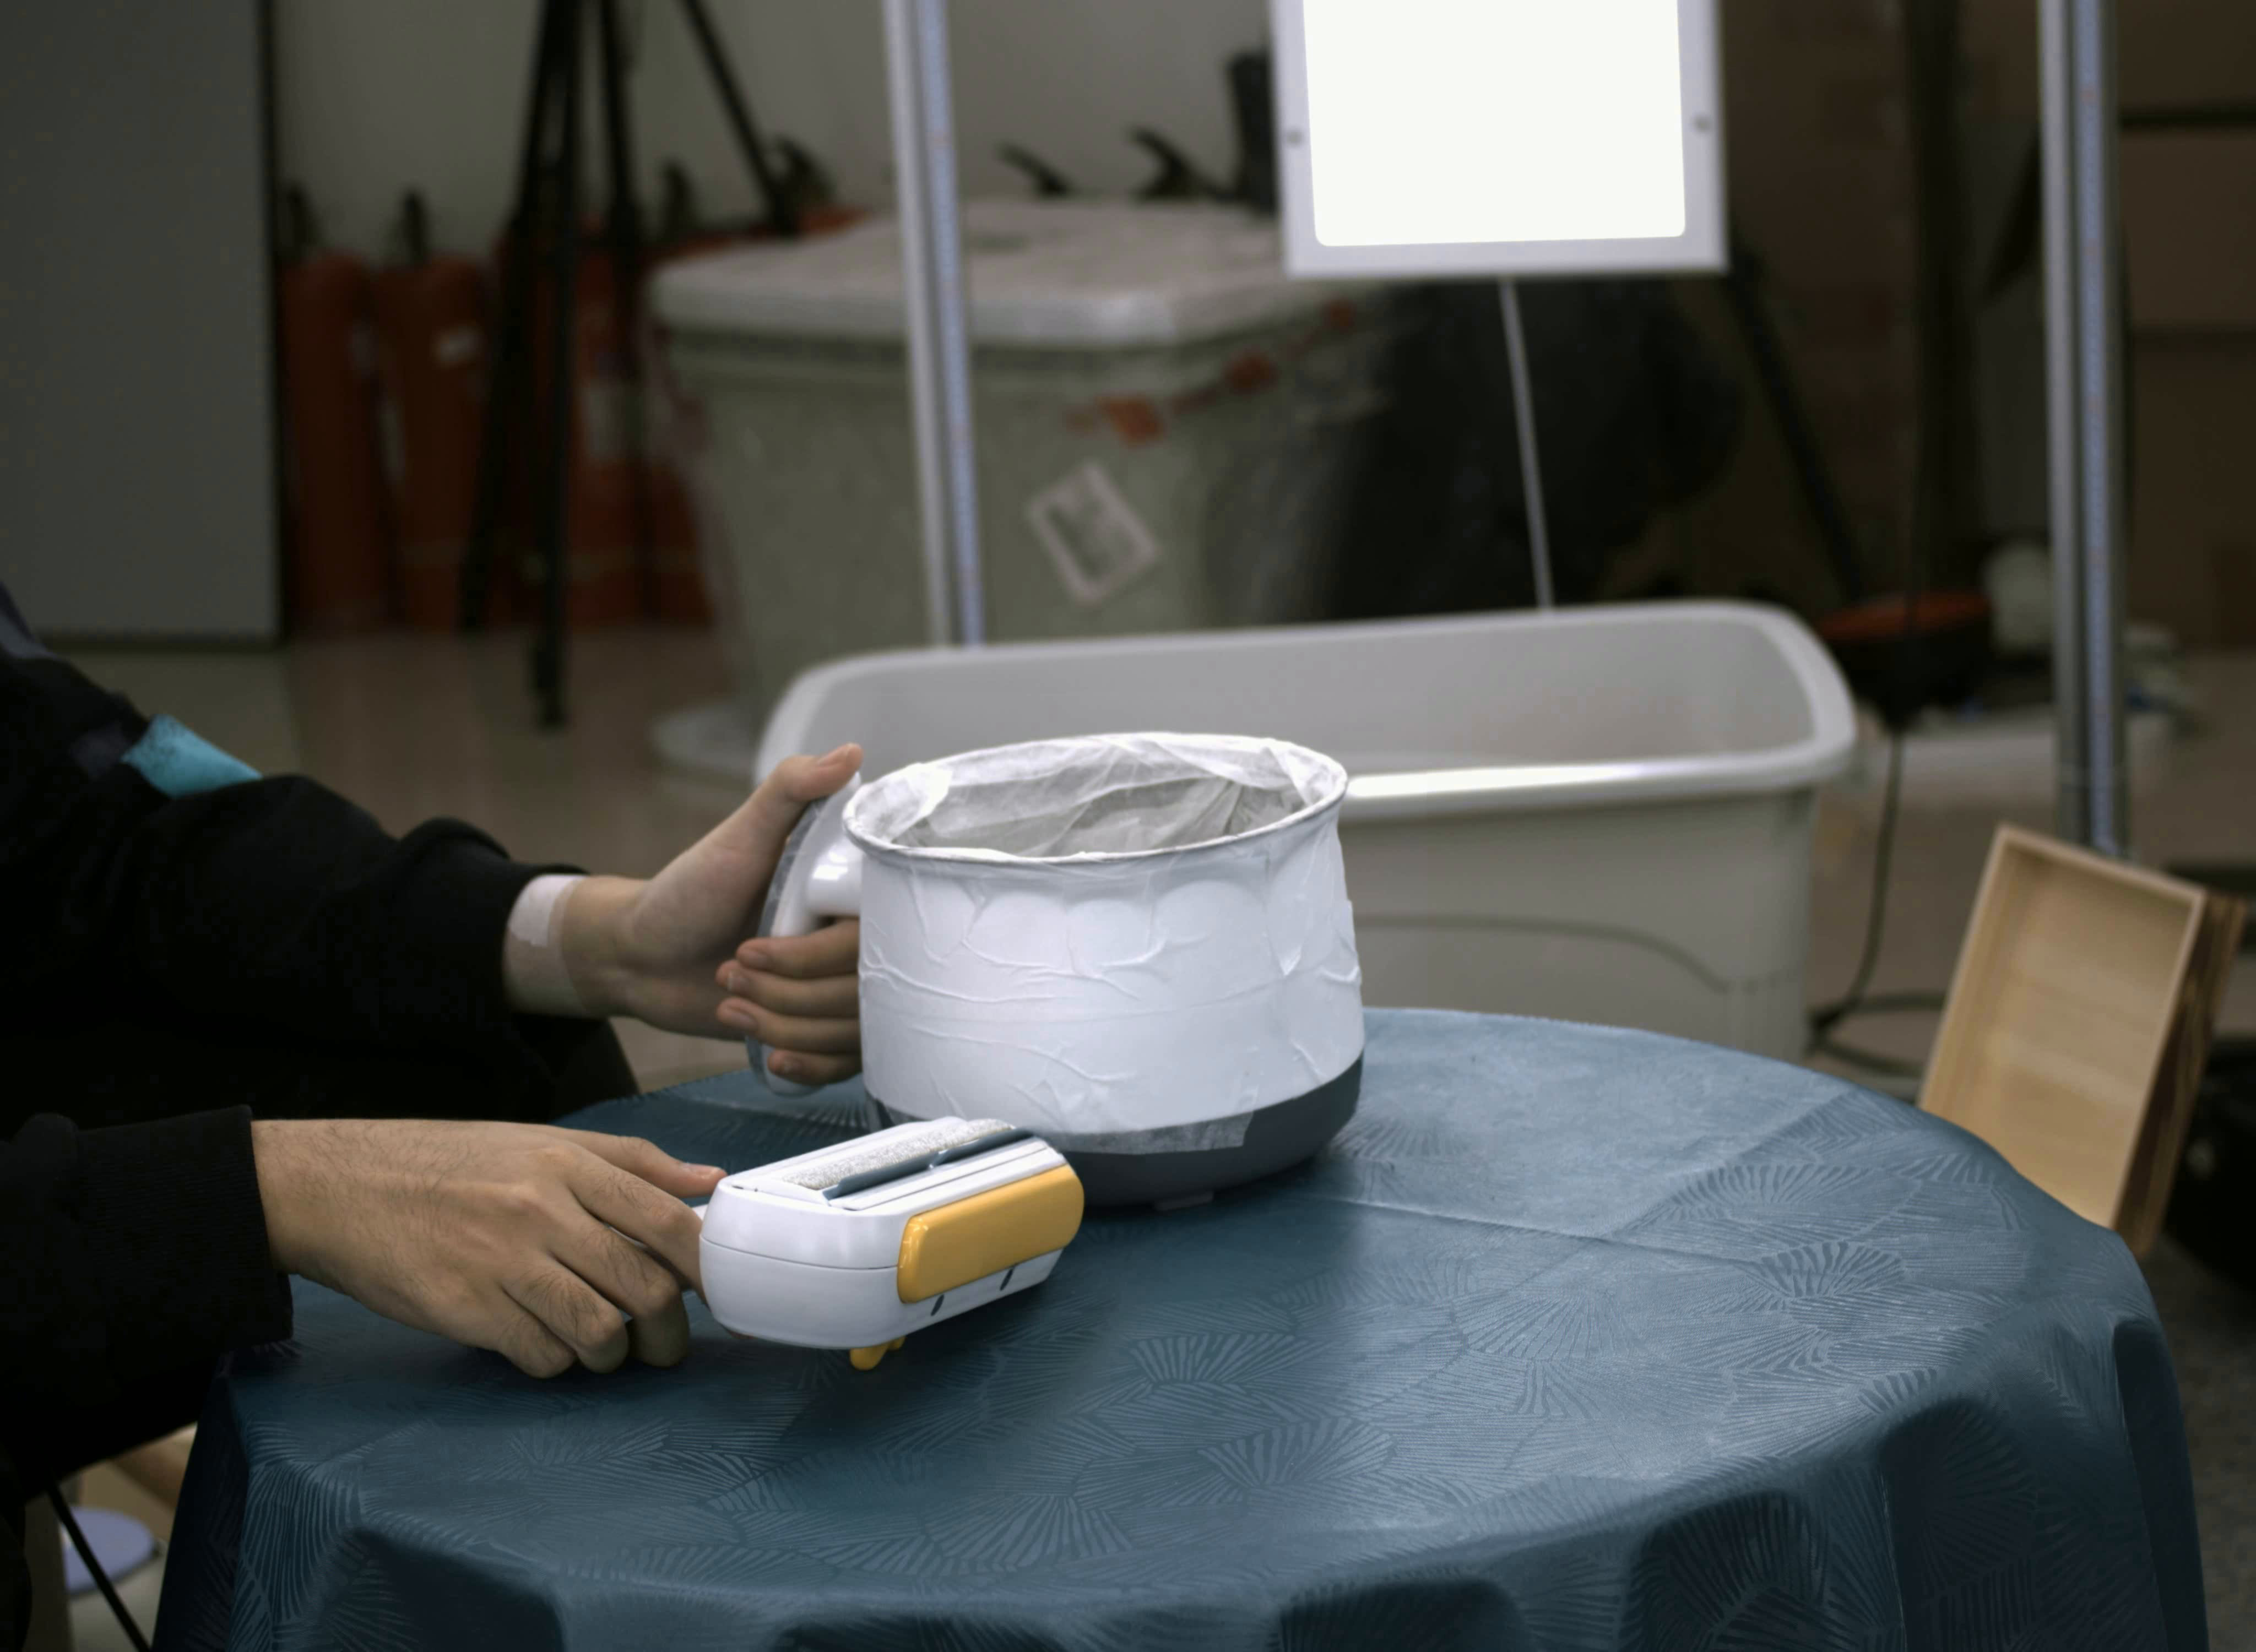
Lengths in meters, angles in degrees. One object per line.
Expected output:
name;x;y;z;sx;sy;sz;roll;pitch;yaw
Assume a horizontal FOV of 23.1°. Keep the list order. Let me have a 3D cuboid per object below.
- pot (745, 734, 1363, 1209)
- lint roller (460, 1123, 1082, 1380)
pot;-0.031;0.048;1.933;0.238;0.137;0.175;4;14;27
lint roller;-0.129;0.135;1.765;0.196;0.074;0.189;0;8;26
